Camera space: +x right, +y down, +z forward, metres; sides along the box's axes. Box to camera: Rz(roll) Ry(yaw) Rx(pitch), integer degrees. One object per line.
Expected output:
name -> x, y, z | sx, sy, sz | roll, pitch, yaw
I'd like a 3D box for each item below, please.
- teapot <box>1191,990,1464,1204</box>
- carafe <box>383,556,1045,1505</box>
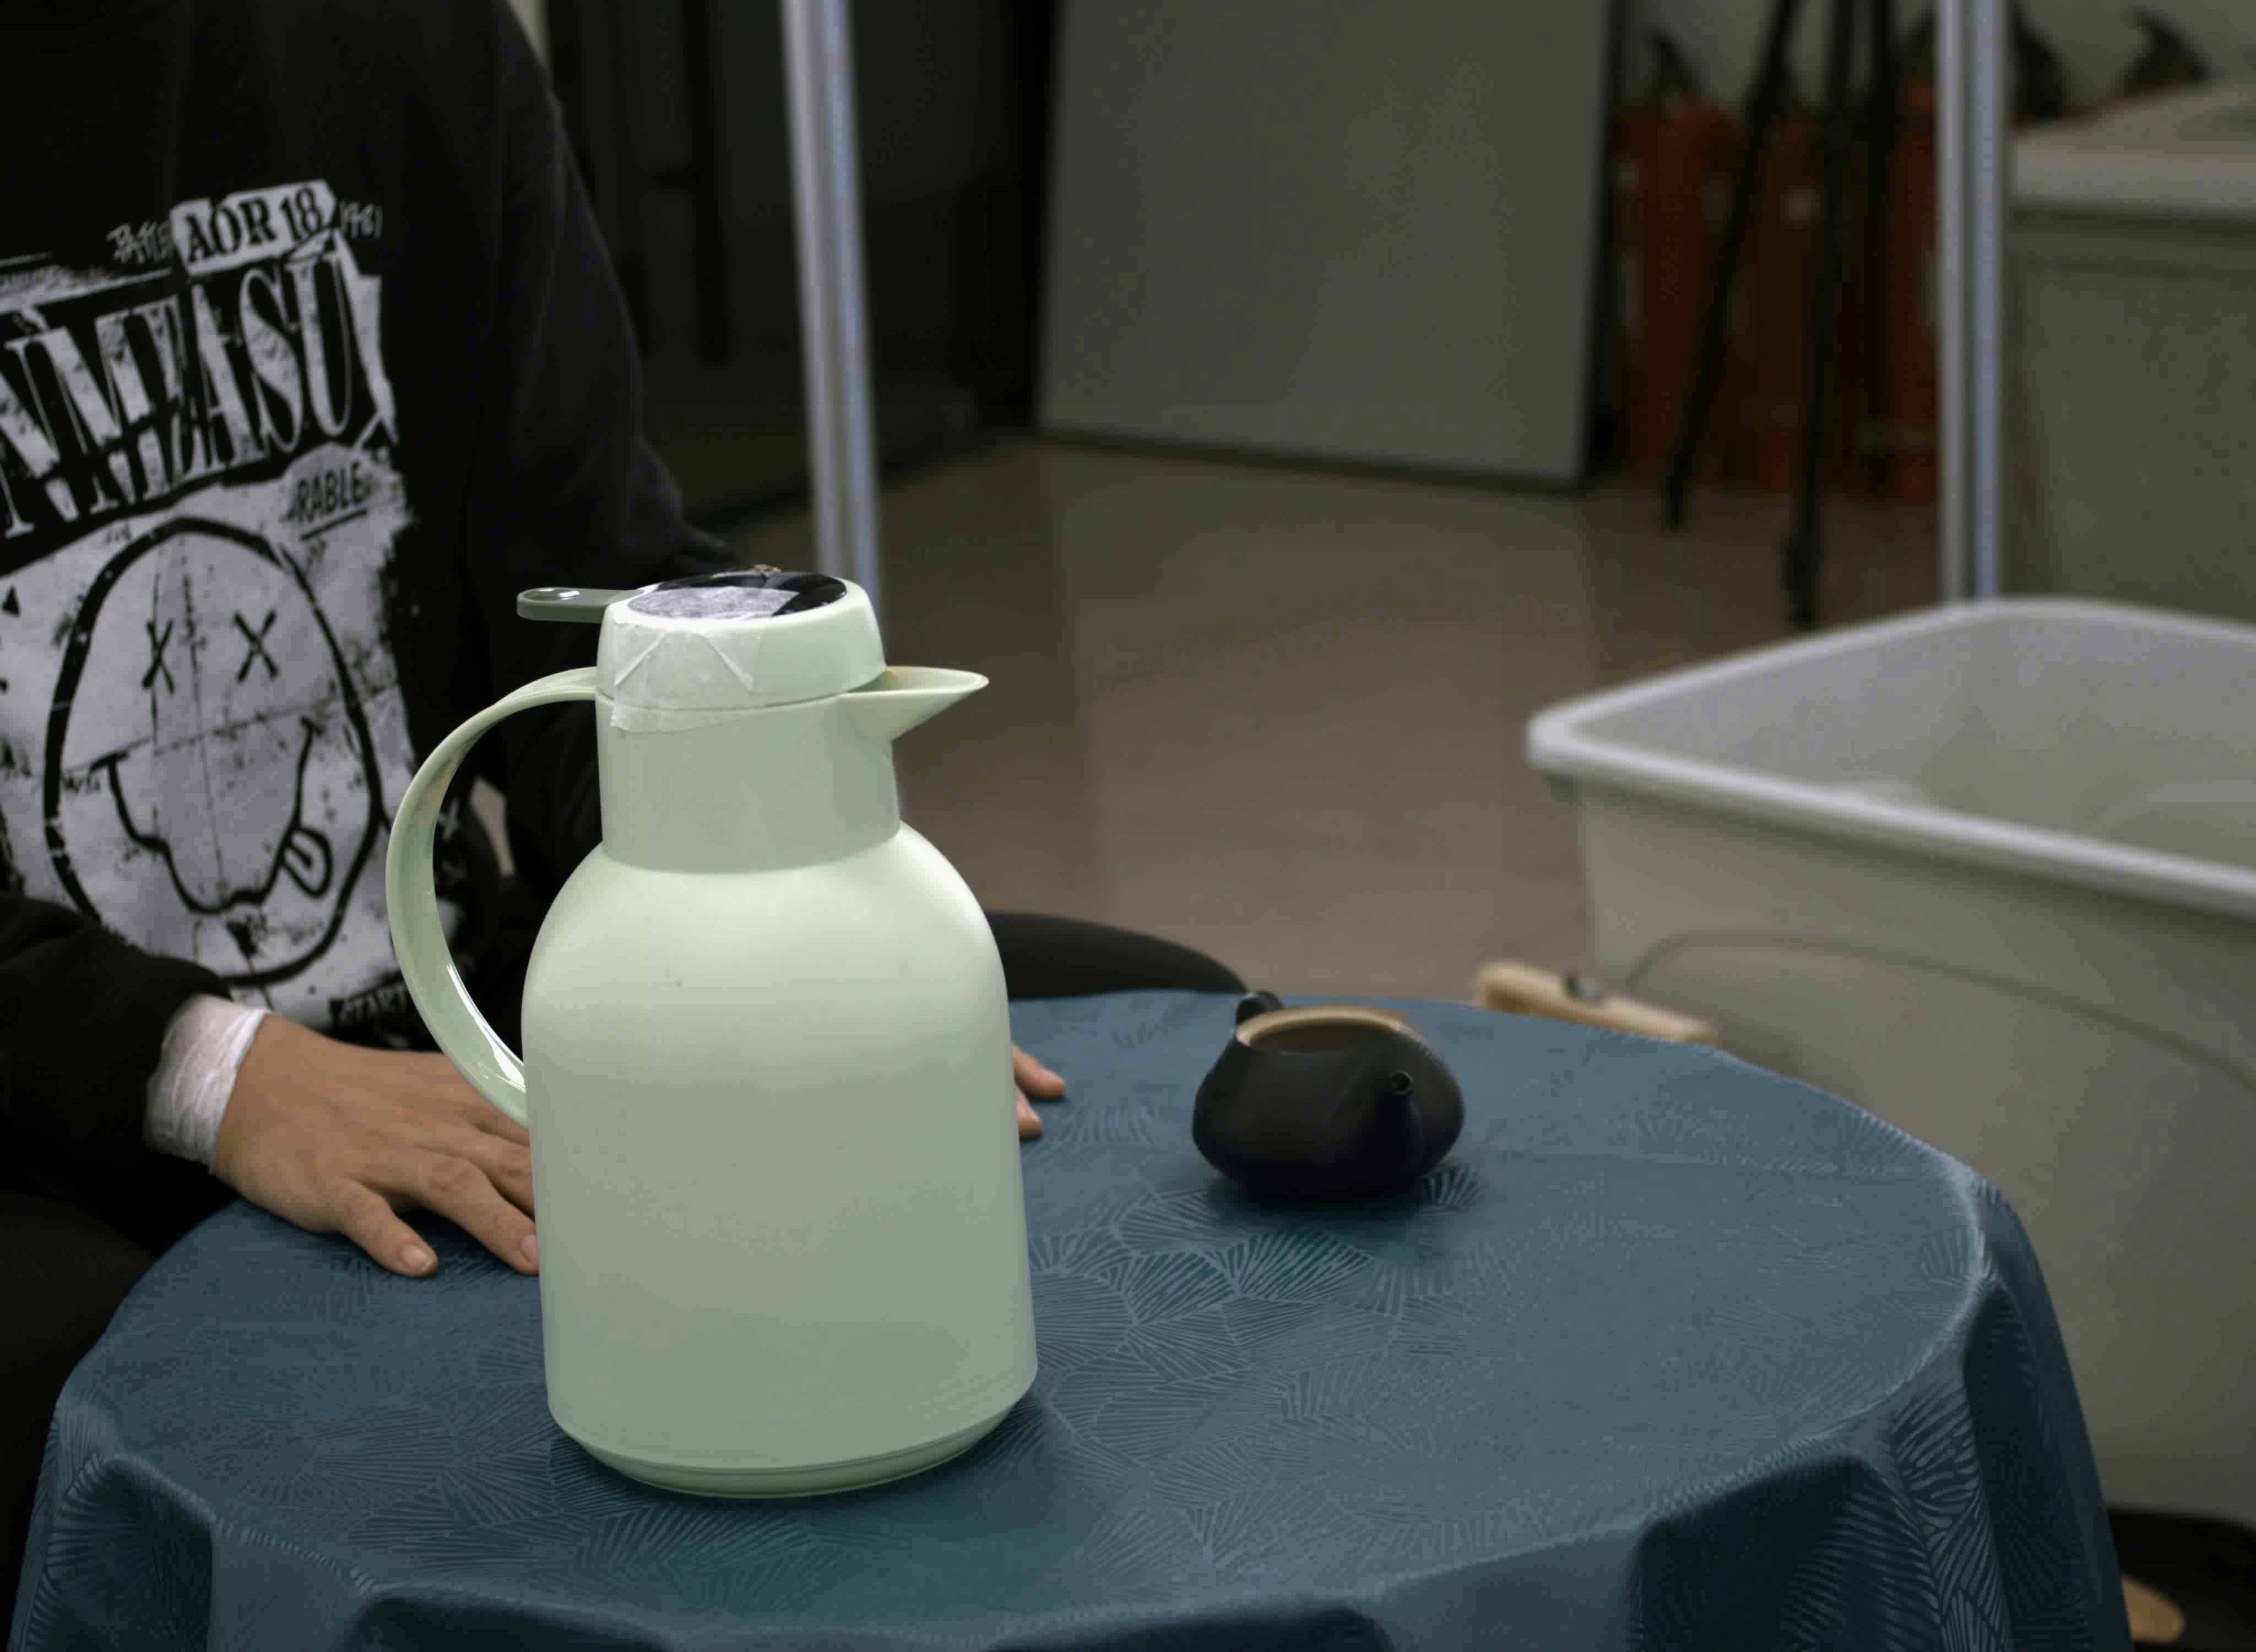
teapot -> 0.065, 0.091, 1.764 | 0.089, 0.053, 0.134 | -7, 14, -19
carafe -> -0.118, 0.054, 1.557 | 0.186, 0.259, 0.143 | -3, 14, 18
